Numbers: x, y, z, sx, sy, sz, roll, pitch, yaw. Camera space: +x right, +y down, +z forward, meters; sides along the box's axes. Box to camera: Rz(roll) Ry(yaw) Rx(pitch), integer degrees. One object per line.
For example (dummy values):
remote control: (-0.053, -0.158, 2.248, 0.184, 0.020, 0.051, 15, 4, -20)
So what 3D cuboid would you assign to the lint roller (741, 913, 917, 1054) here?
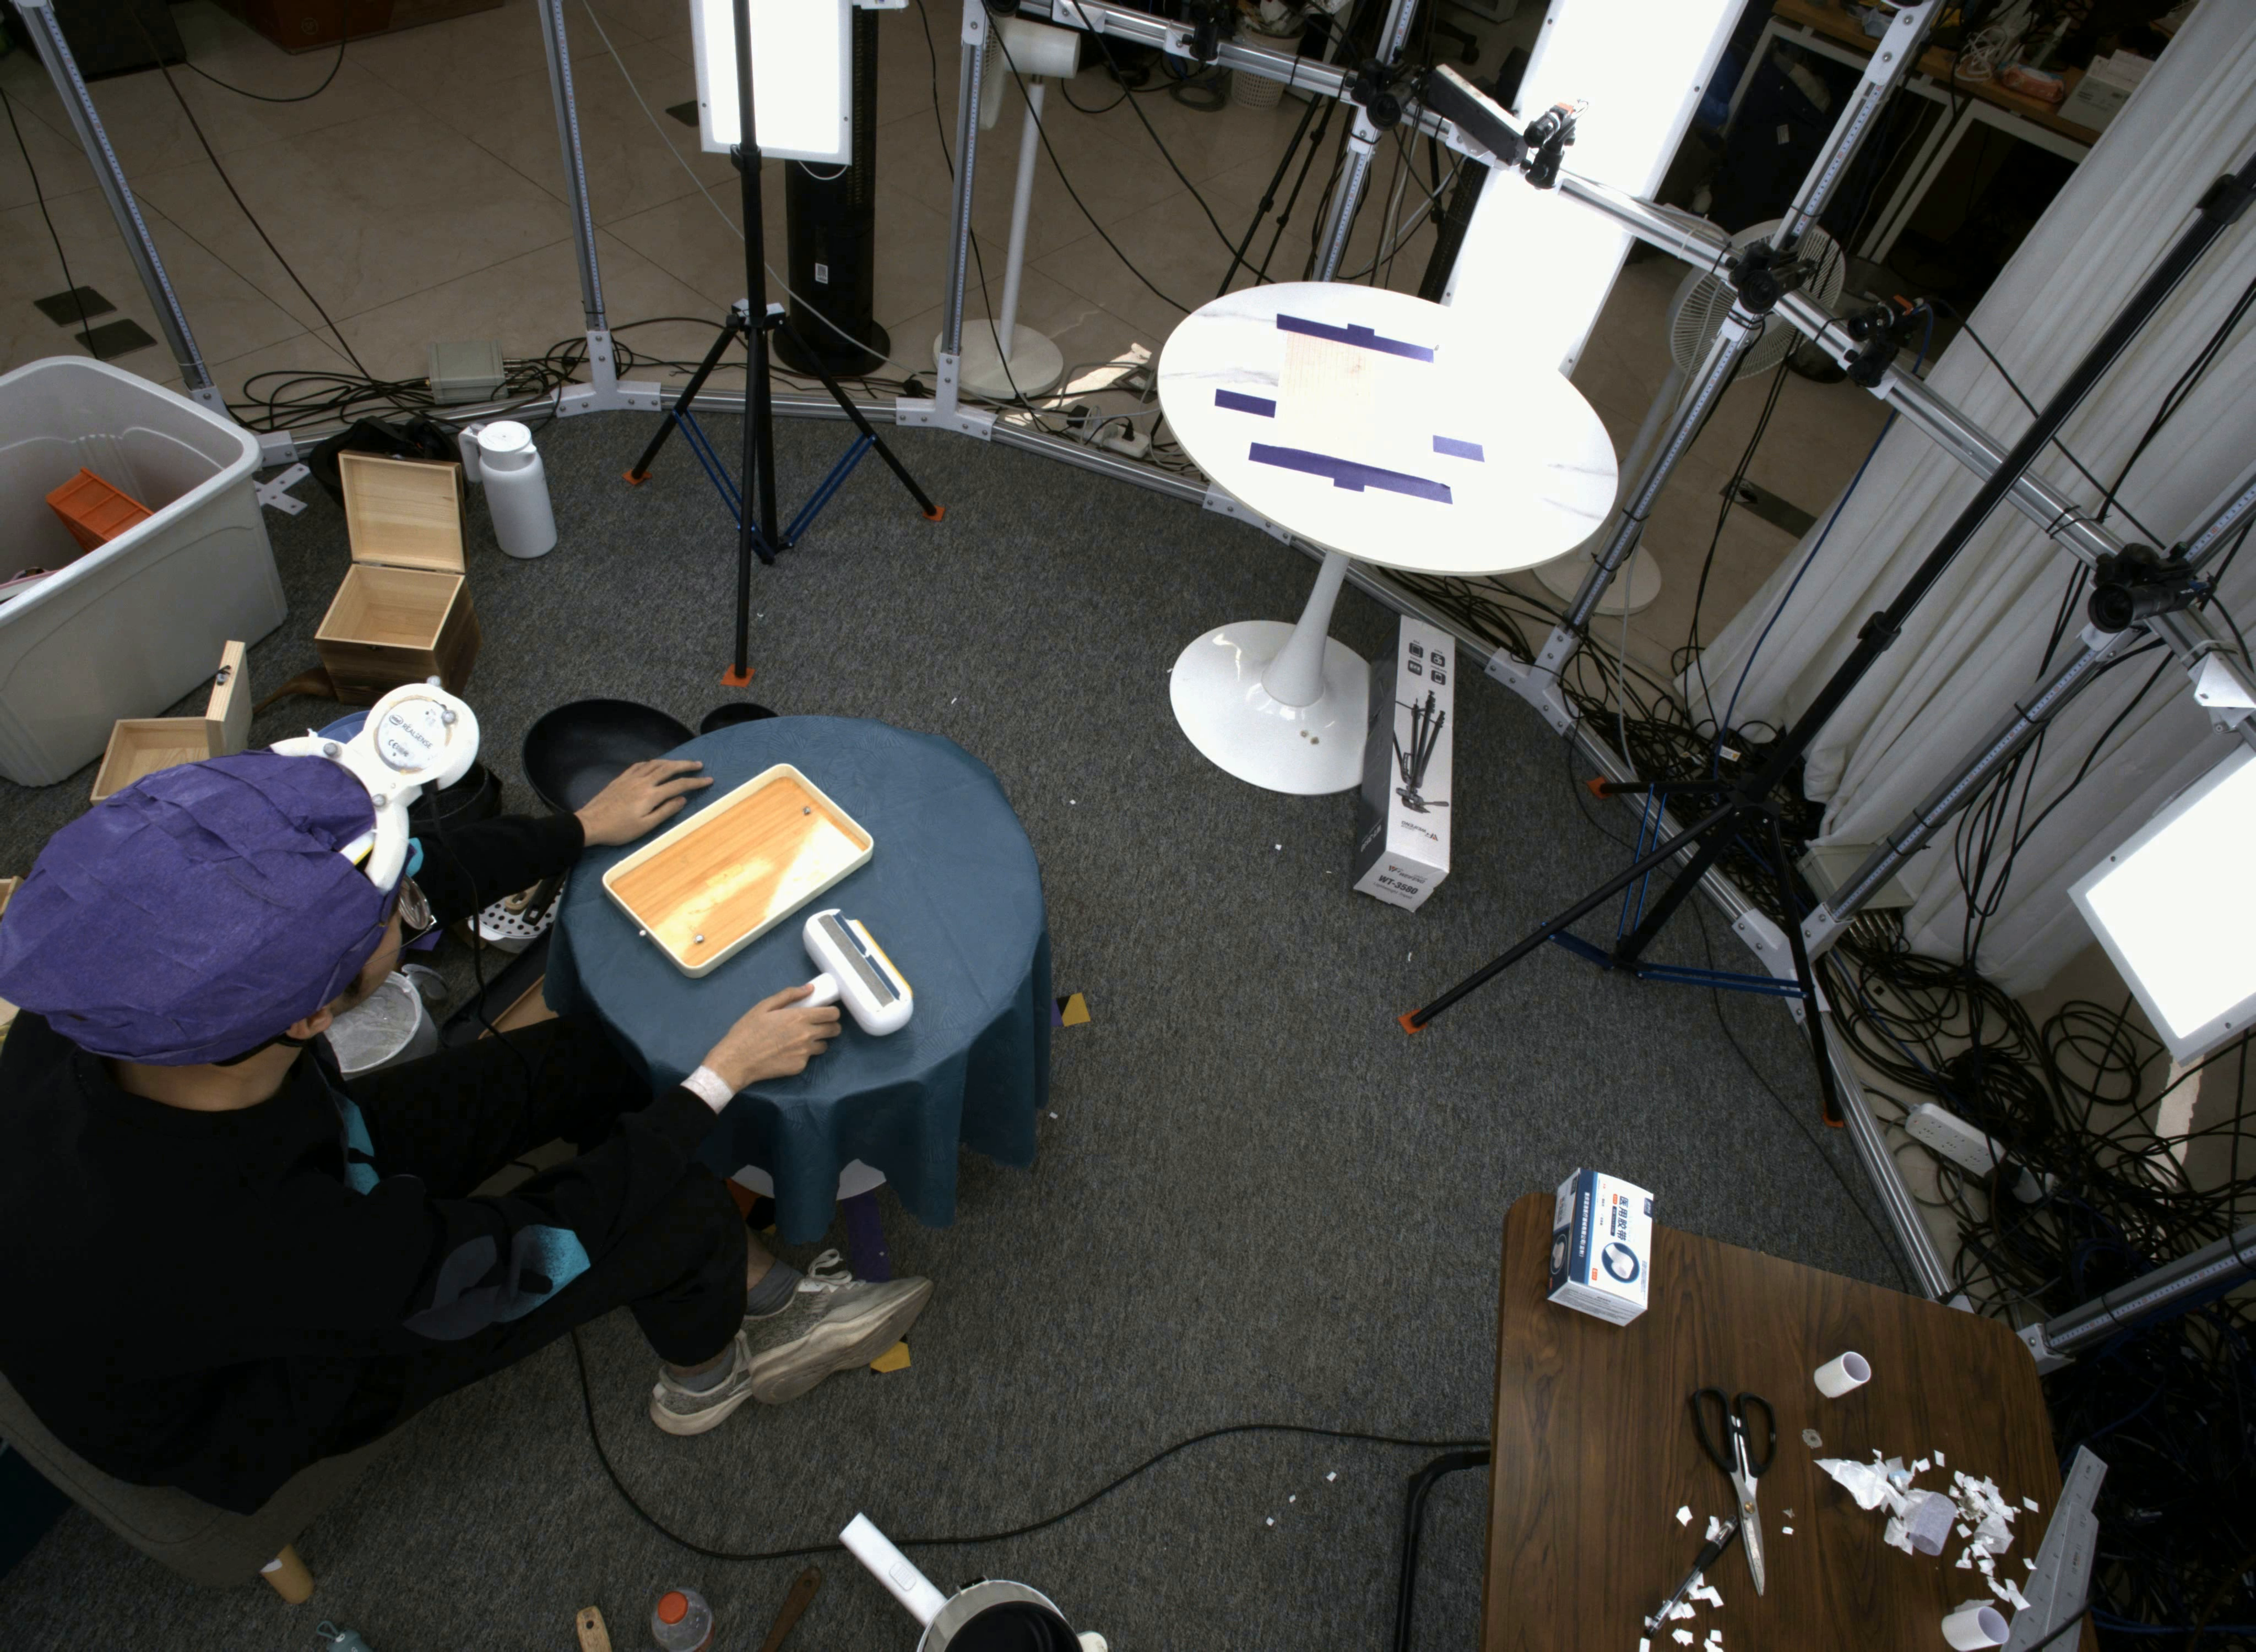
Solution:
lint roller: (-0.372, 0.204, 1.549, 0.193, 0.076, 0.187, -23, 57, -26)

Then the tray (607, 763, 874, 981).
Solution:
tray: (-0.494, 0.050, 1.657, 0.188, 0.028, 0.301, 41, 55, 15)
